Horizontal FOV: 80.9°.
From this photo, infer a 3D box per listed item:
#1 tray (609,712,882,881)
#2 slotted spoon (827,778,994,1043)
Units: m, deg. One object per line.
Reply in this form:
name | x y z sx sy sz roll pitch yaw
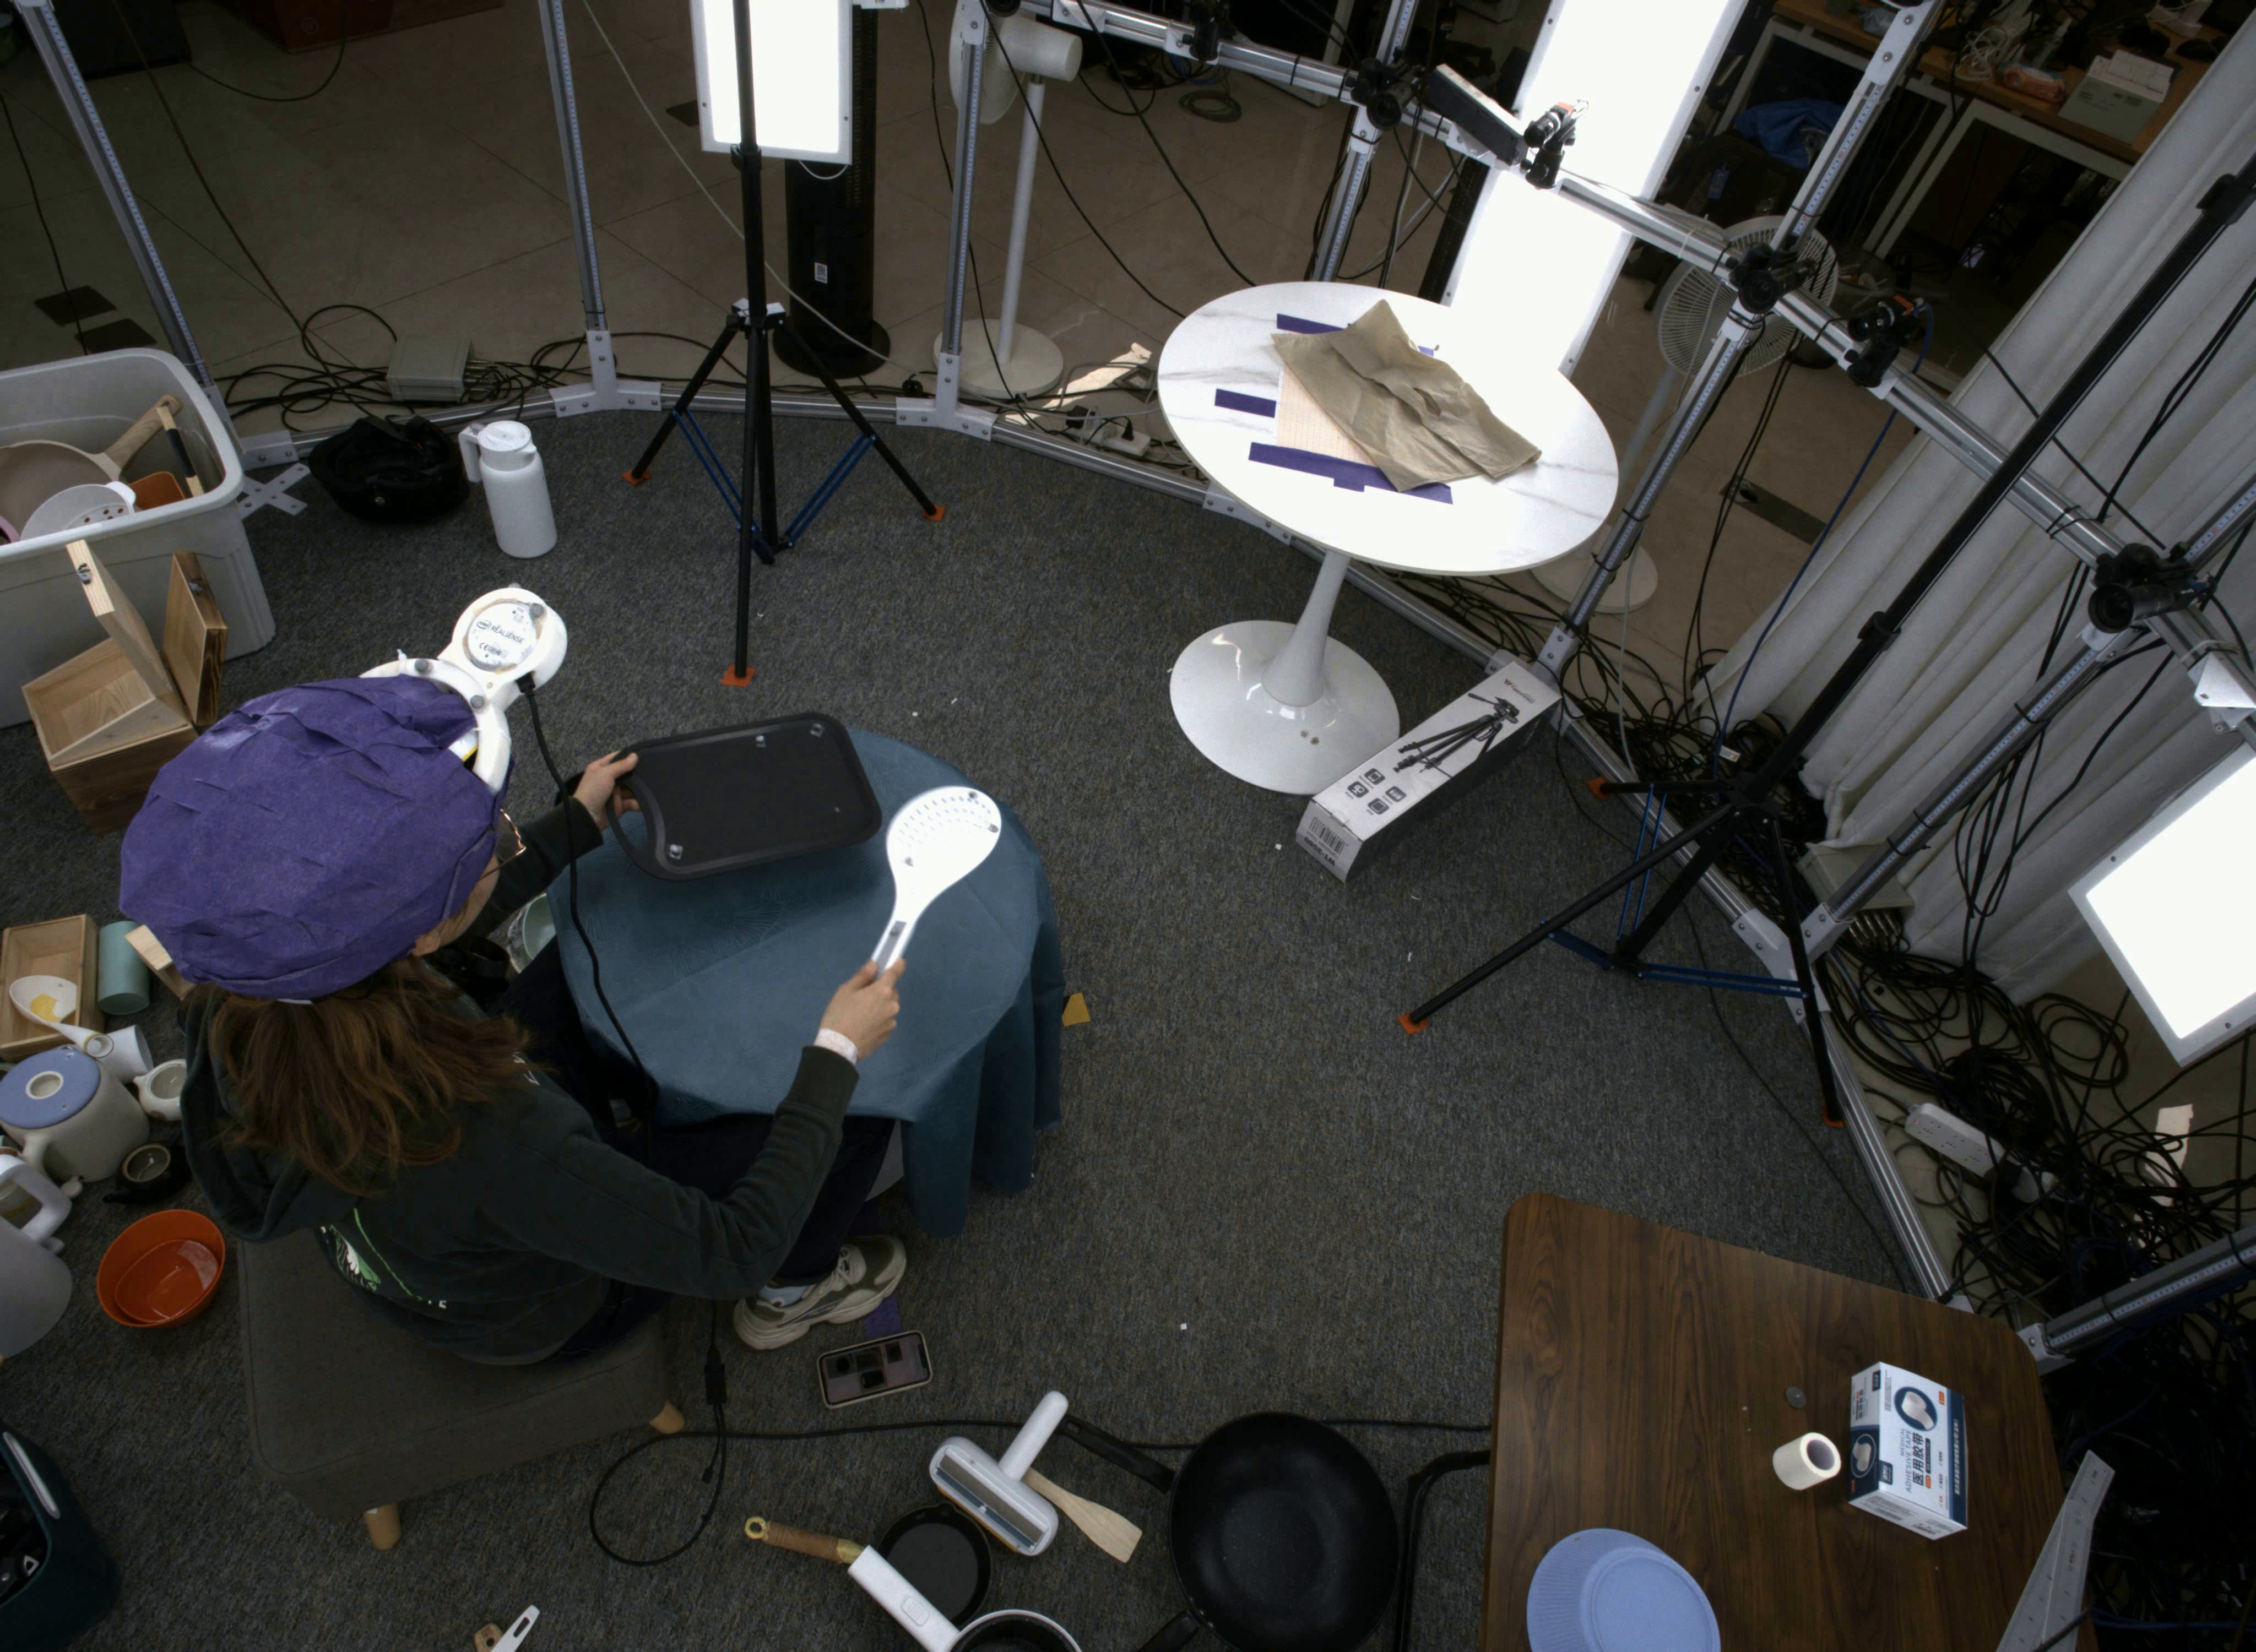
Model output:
tray | -0.480 -0.042 1.612 0.328 0.010 0.207 -13 65 -31
slotted spoon | -0.253 0.087 1.459 0.132 0.047 0.346 11 52 15
